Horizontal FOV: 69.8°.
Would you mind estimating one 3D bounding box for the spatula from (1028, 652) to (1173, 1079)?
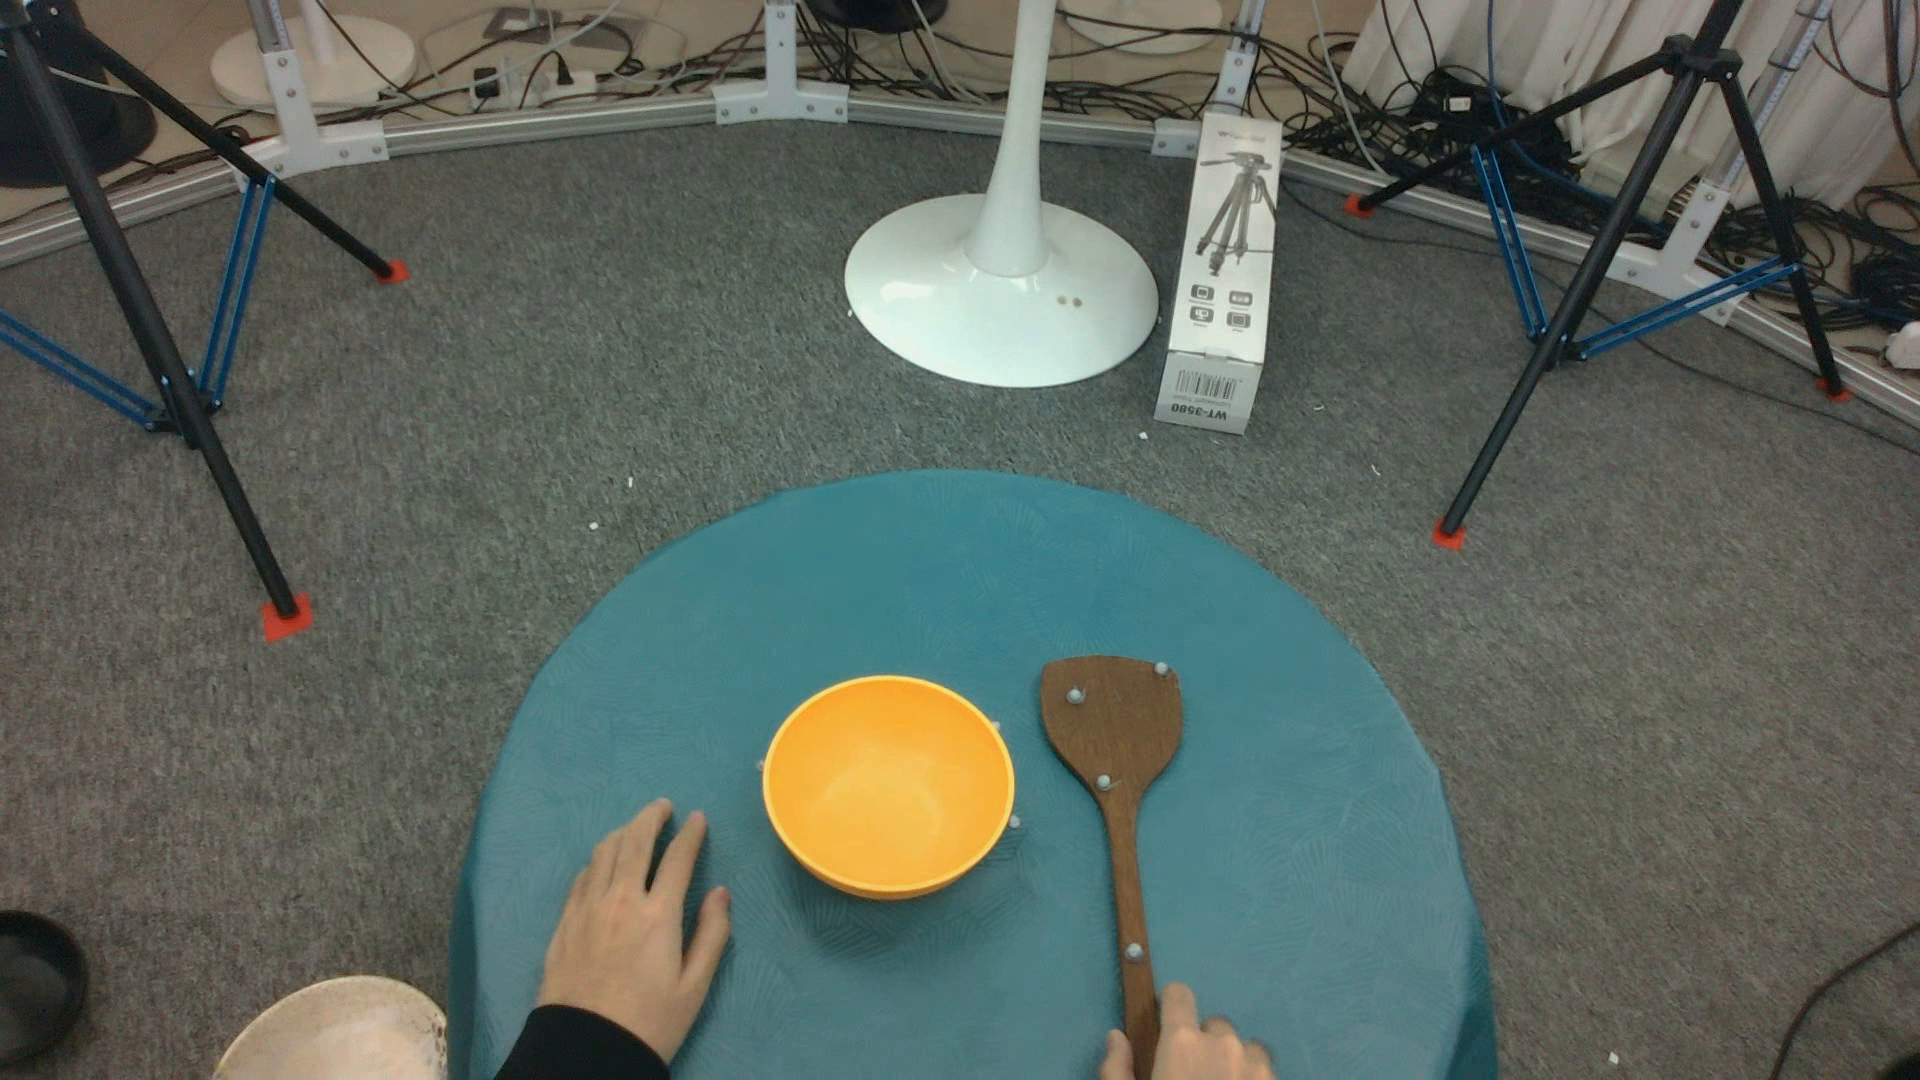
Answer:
[{"bbox_3d":[0.093,0.218,0.794,0.096,0.015,0.388,3,47,-4],"label":"spatula"}]

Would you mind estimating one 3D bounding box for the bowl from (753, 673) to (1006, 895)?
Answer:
[{"bbox_3d":[-0.047,0.152,0.810,0.145,0.060,0.146,2,47,-2],"label":"bowl"}]
